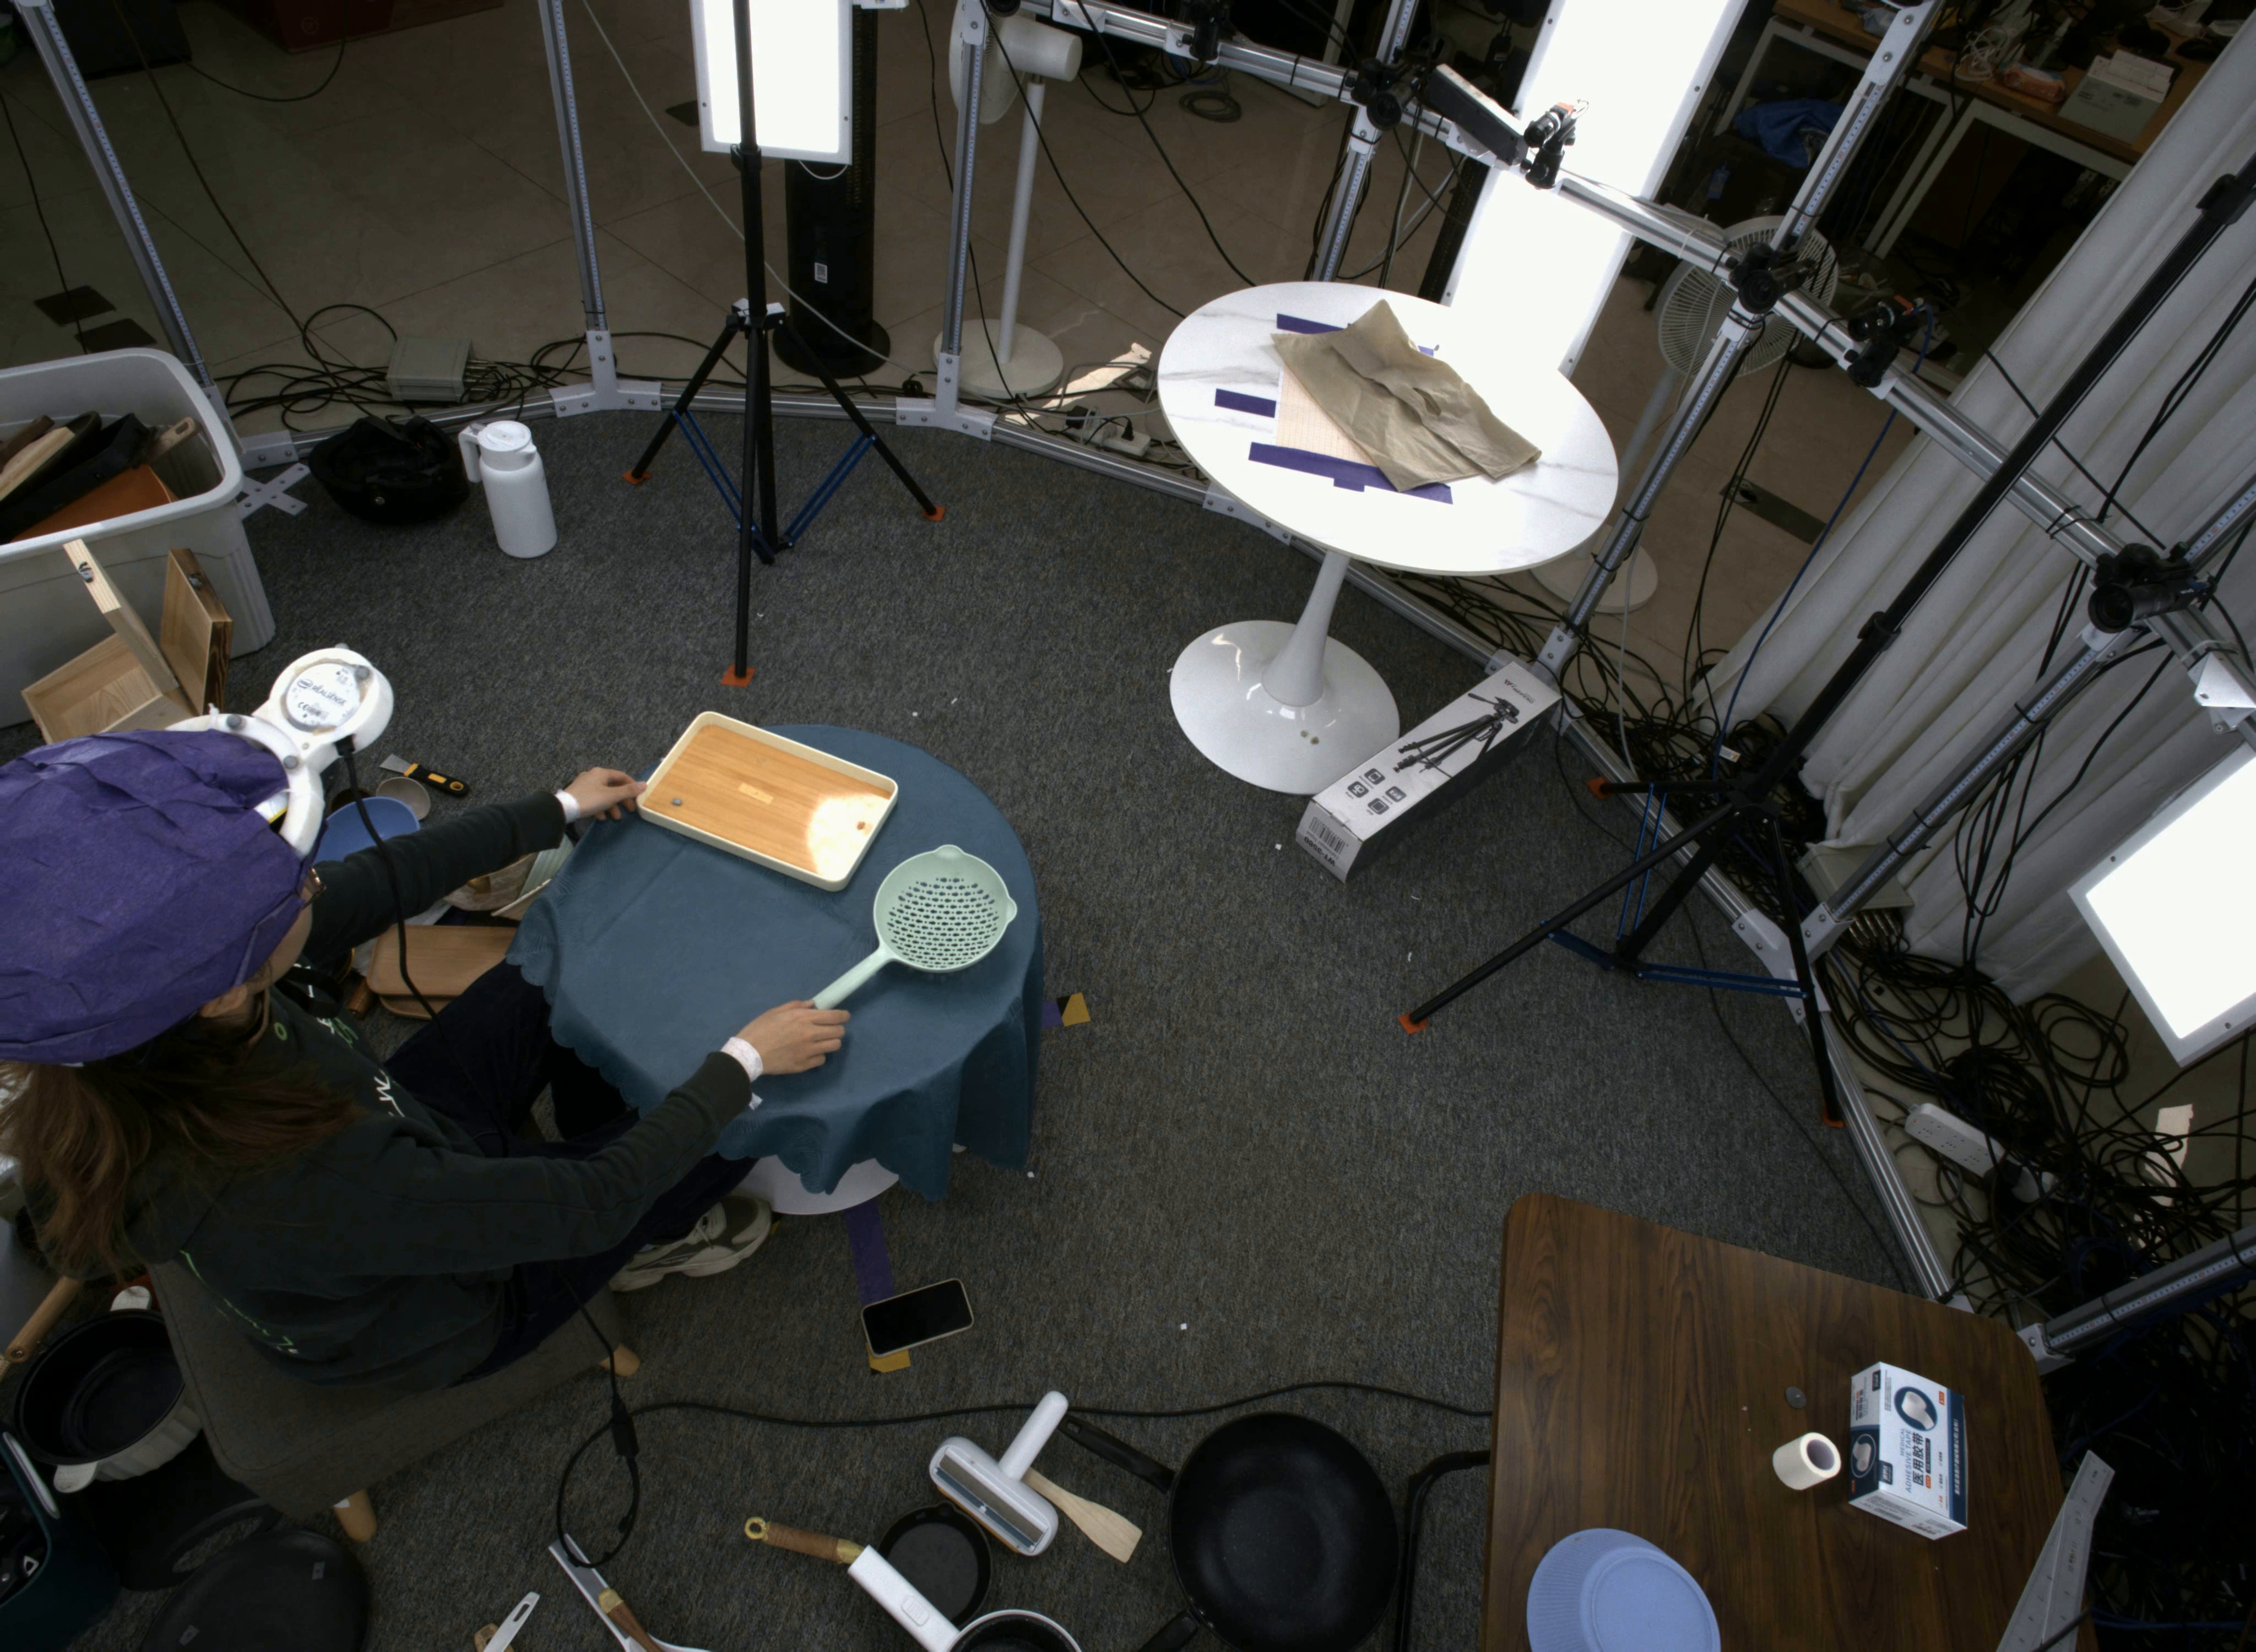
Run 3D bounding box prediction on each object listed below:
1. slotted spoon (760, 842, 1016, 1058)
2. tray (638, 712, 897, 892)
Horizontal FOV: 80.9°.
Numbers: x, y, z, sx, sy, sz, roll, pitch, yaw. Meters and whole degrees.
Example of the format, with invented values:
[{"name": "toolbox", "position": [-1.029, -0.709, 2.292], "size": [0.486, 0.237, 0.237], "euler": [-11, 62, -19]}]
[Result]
[{"name": "slotted spoon", "position": [-0.303, 0.161, 1.599], "size": [0.165, 0.077, 0.360], "euler": [43, 55, 19]}, {"name": "tray", "position": [-0.478, -0.036, 1.725], "size": [0.297, 0.028, 0.190], "euler": [21, 51, 2]}]
